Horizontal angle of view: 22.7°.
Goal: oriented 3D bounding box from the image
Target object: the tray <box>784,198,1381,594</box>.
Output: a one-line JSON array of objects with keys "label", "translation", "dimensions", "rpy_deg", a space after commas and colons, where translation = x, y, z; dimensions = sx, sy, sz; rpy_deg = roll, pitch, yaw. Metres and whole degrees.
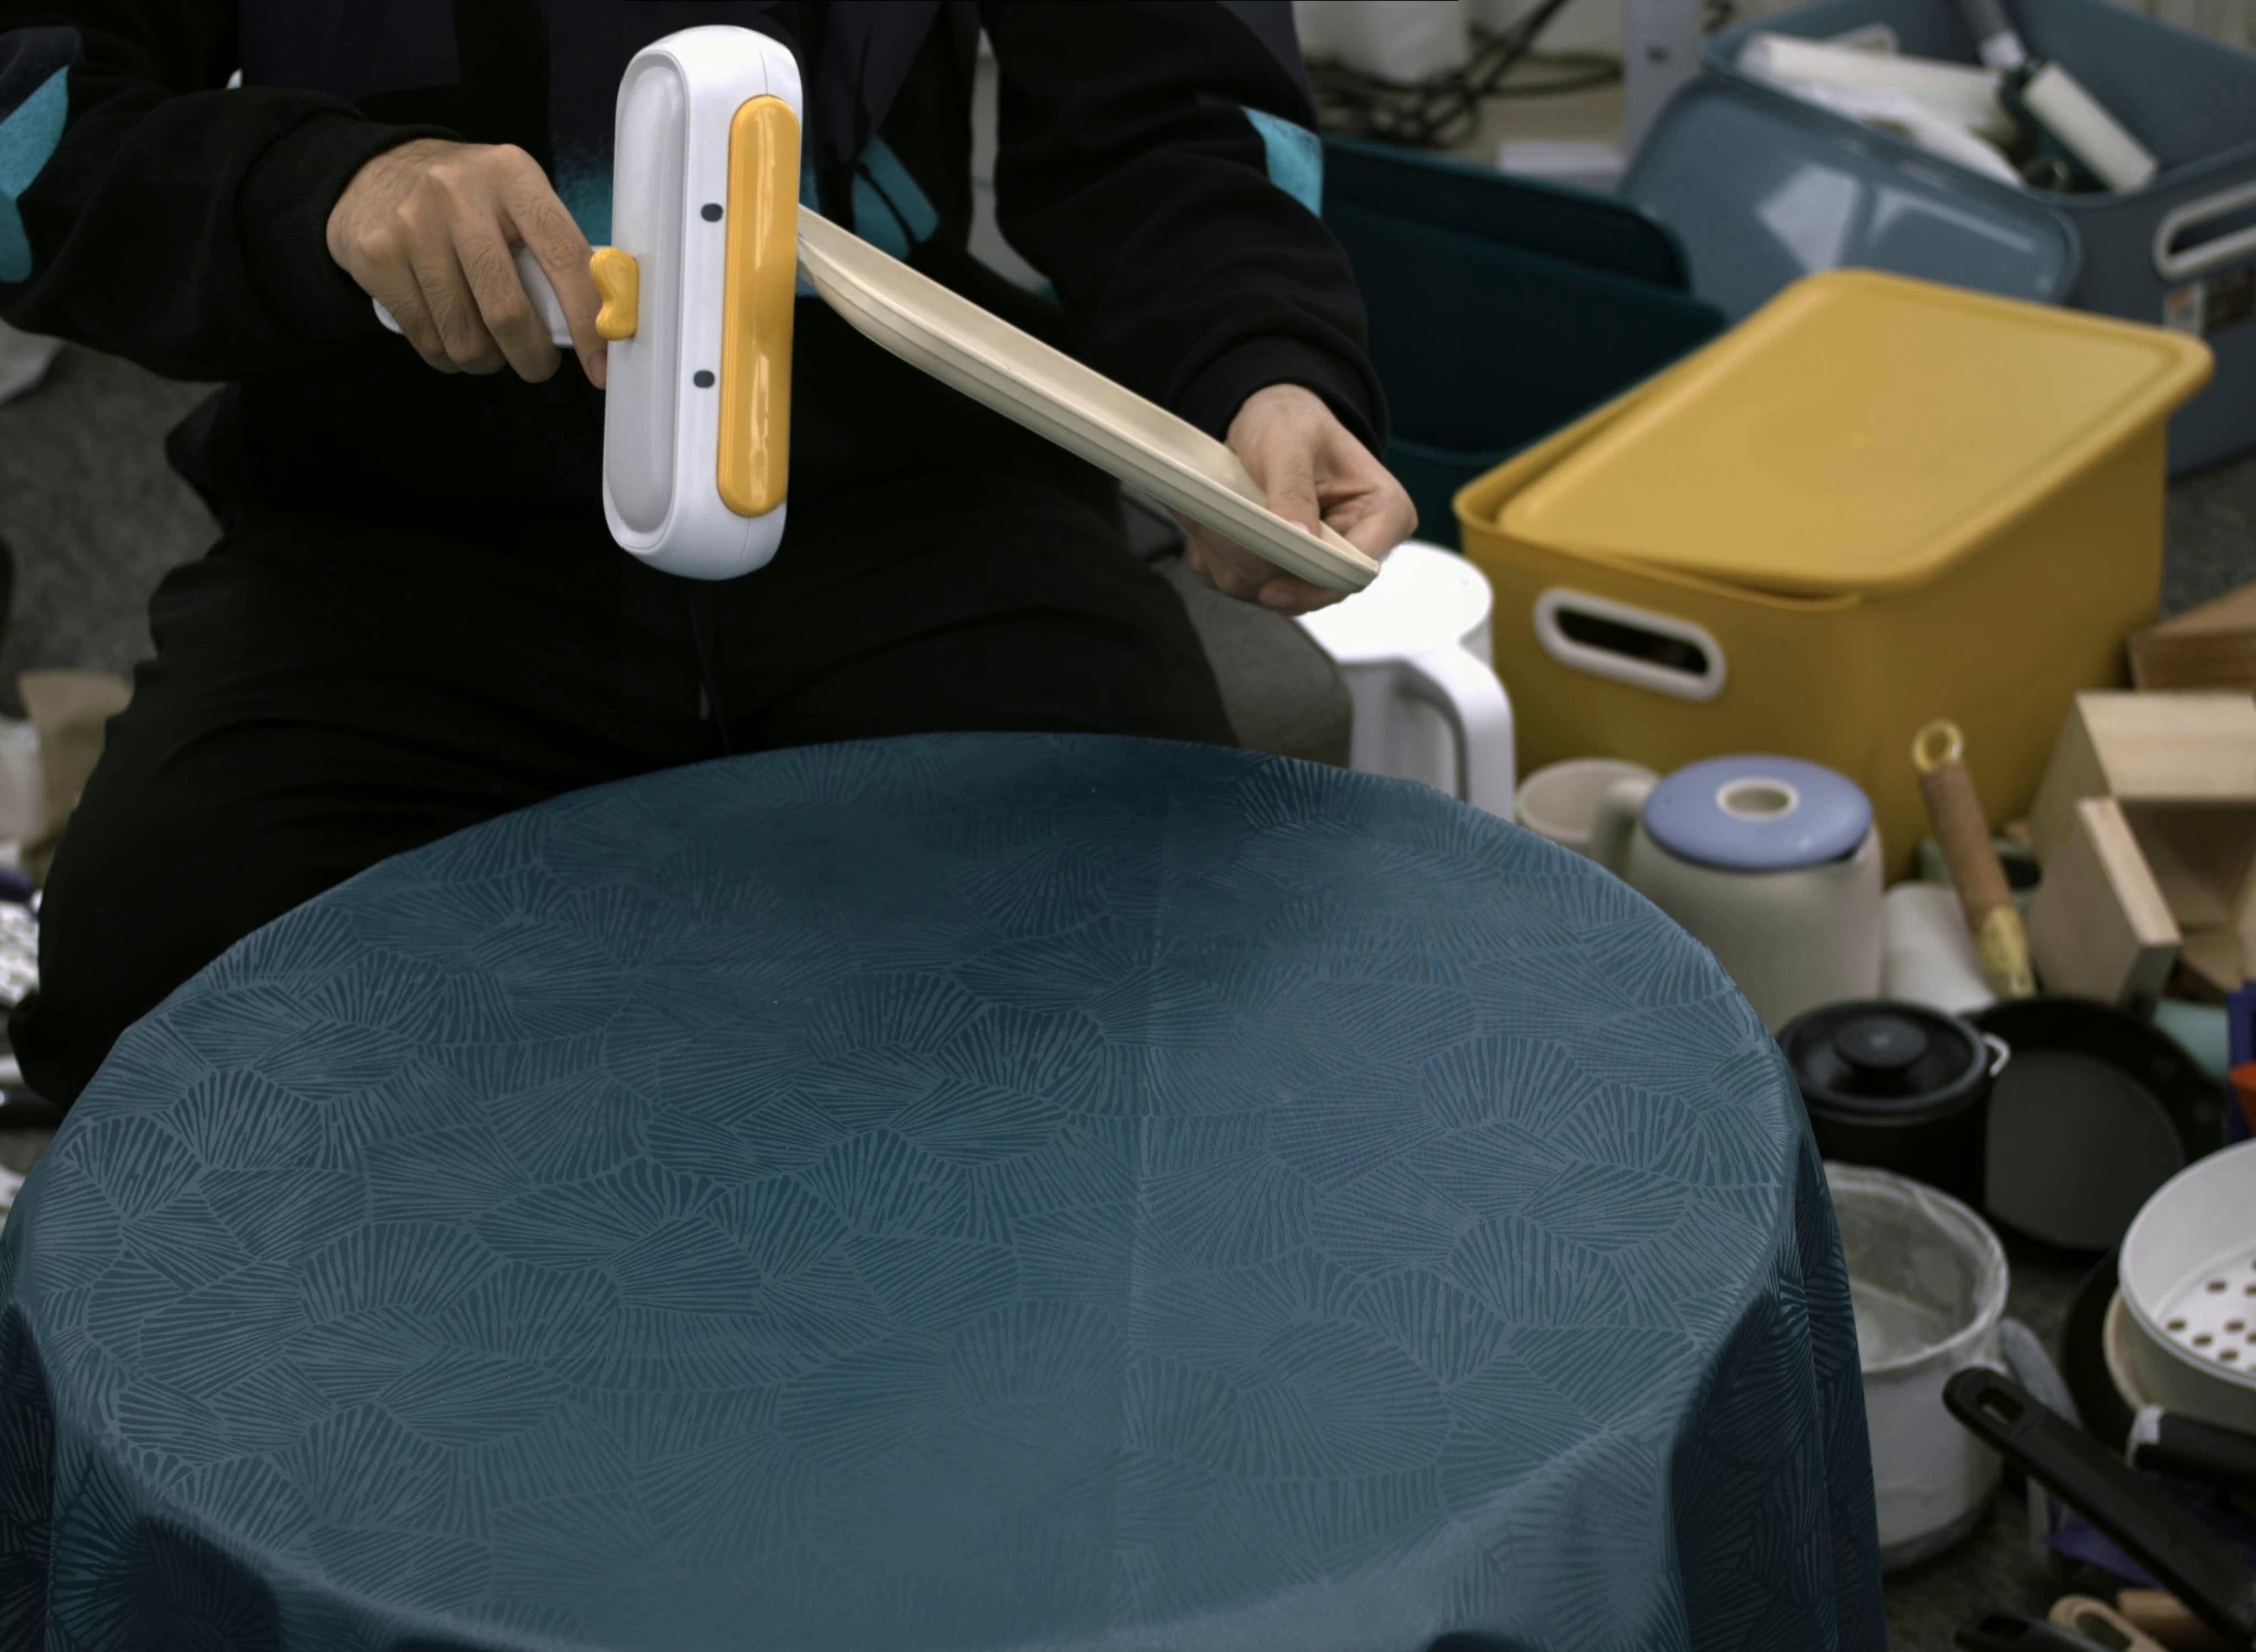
[{"label": "tray", "translation": [-0.026, -0.155, 2.026], "dimensions": [0.239, 0.017, 0.172], "rpy_deg": [28, 7, -29]}]

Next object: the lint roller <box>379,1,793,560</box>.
[{"label": "lint roller", "translation": [-0.191, -0.191, 2.006], "dimensions": [0.074, 0.193, 0.191], "rpy_deg": [-6, 5, -41]}]
